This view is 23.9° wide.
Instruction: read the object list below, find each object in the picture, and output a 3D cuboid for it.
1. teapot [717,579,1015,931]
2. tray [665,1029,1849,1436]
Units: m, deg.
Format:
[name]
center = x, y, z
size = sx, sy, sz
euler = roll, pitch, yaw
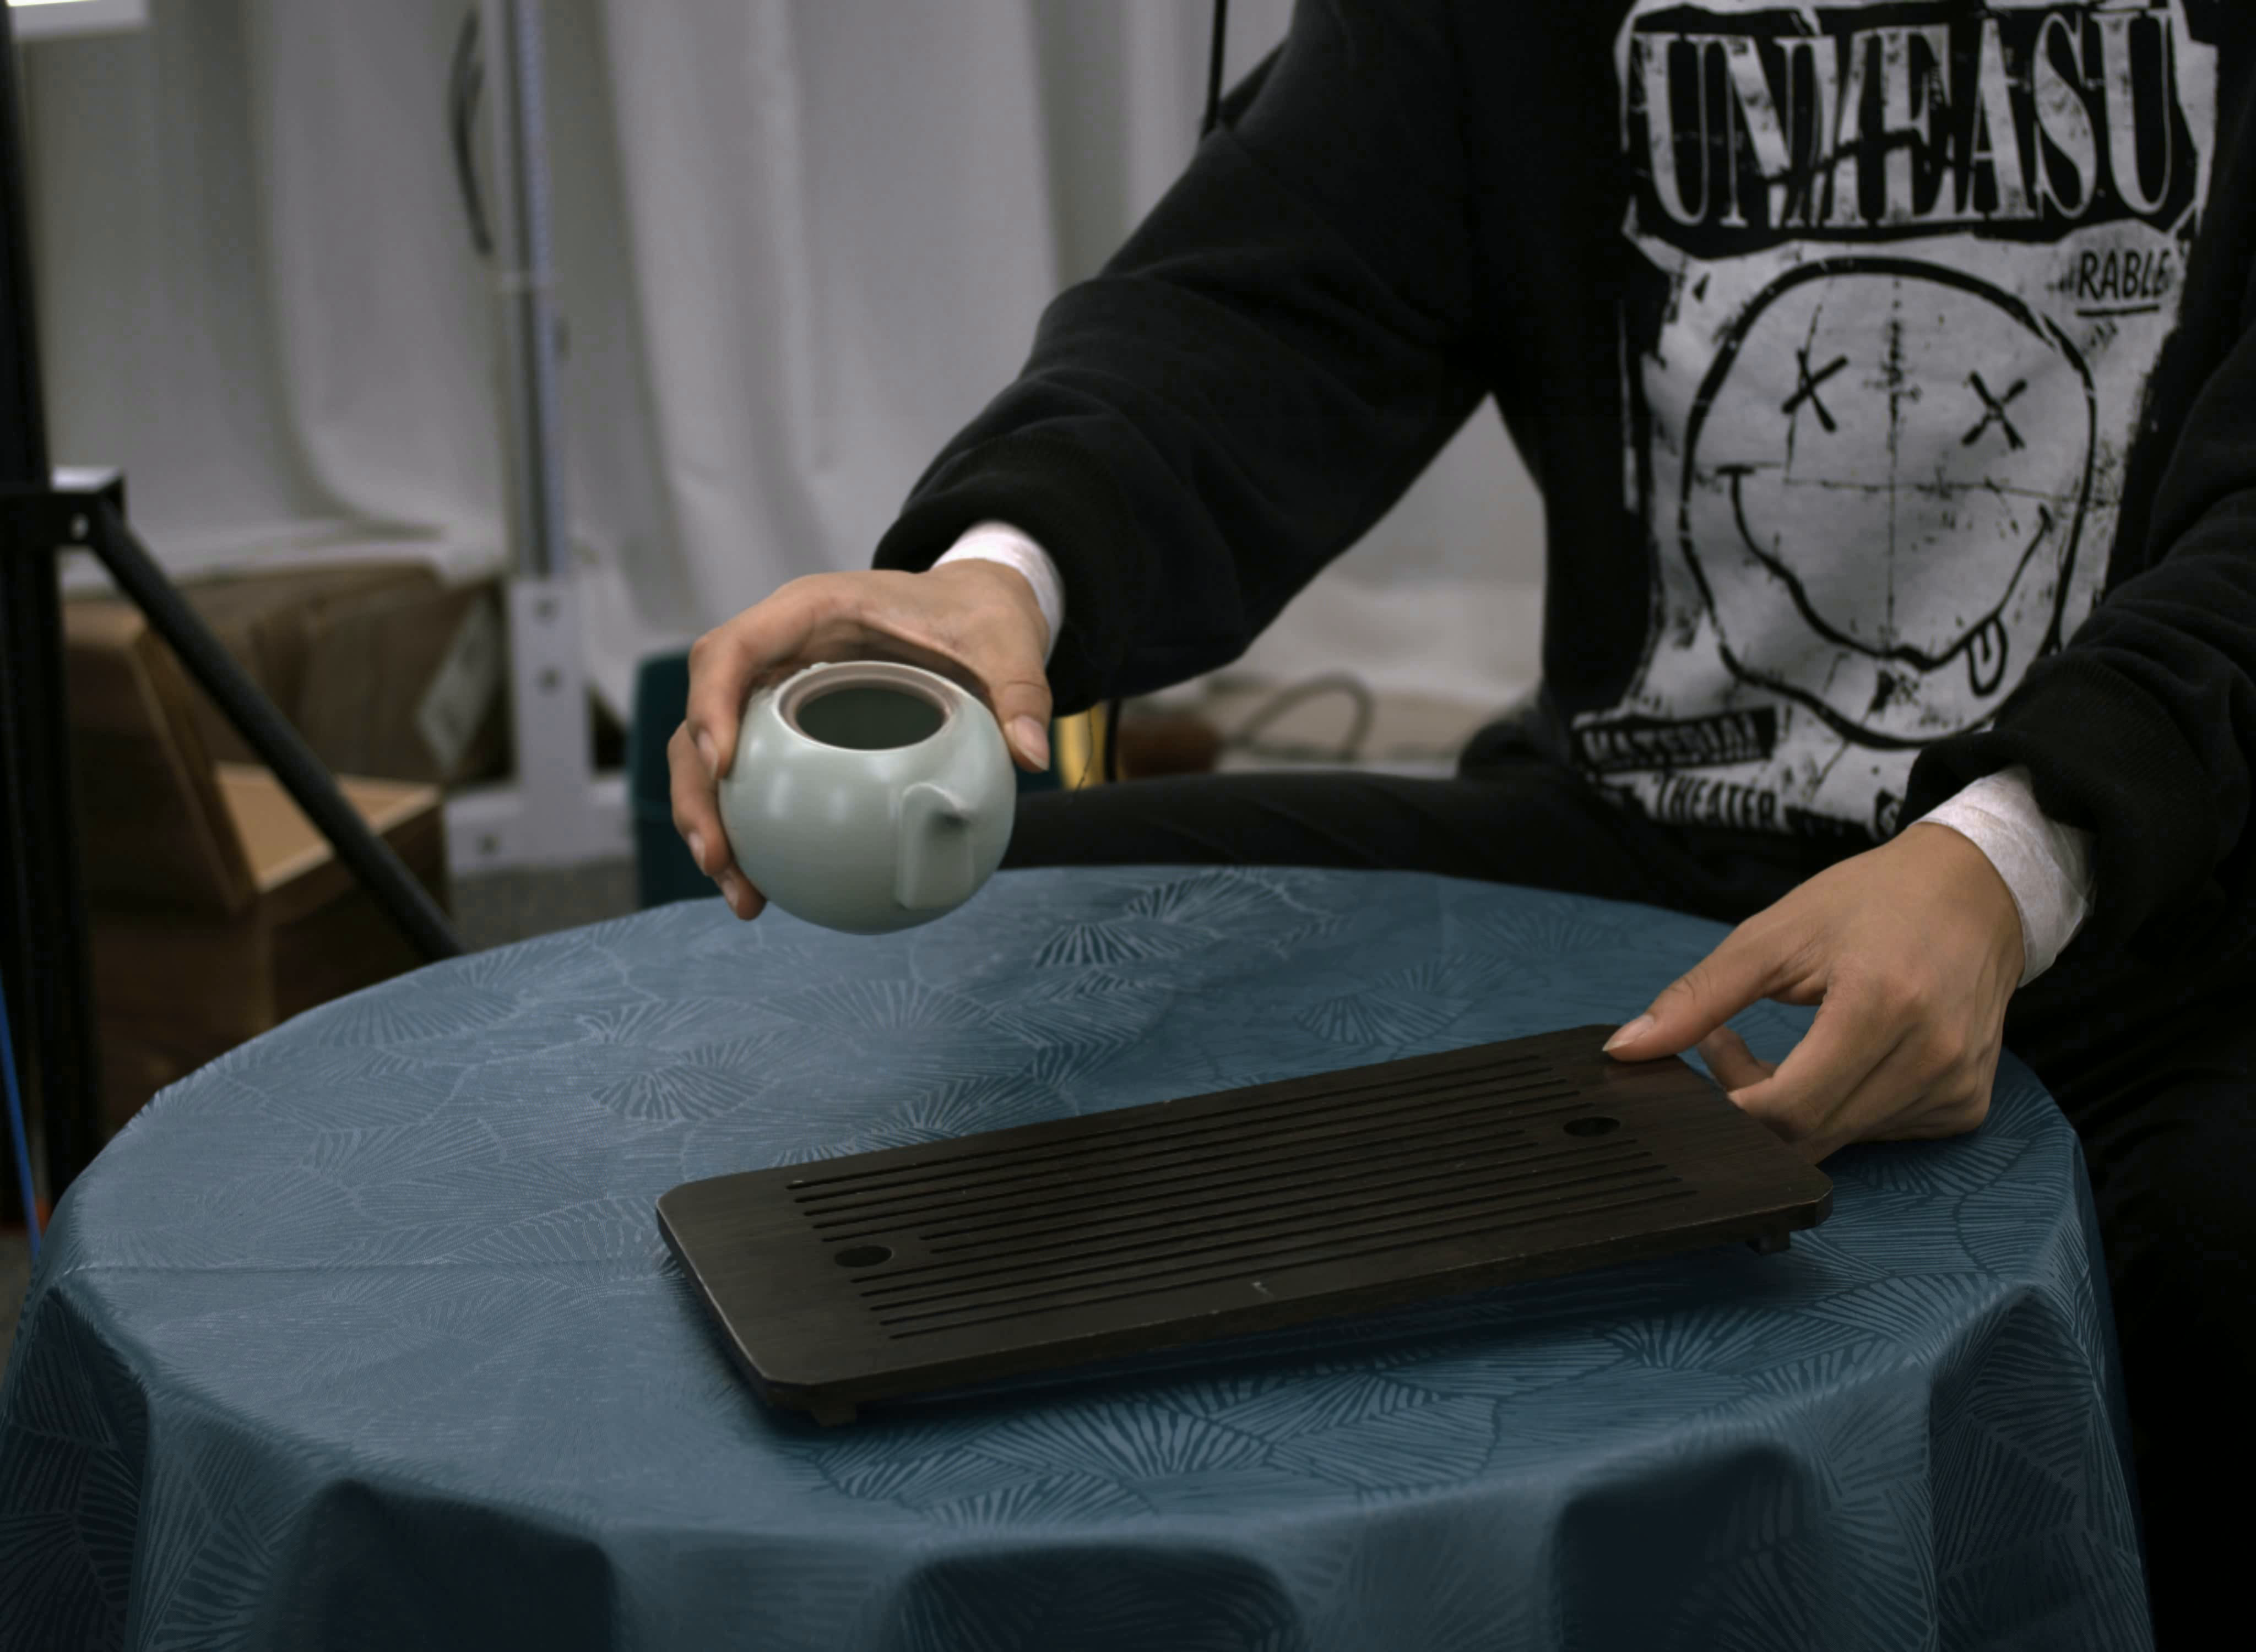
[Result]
[teapot]
center = -0.077, -0.011, 1.569
size = 0.086, 0.074, 0.147
euler = -11, 34, -23
[tray]
center = 0.033, 0.112, 1.481
size = 0.302, 0.018, 0.172
euler = -9, 17, -12
